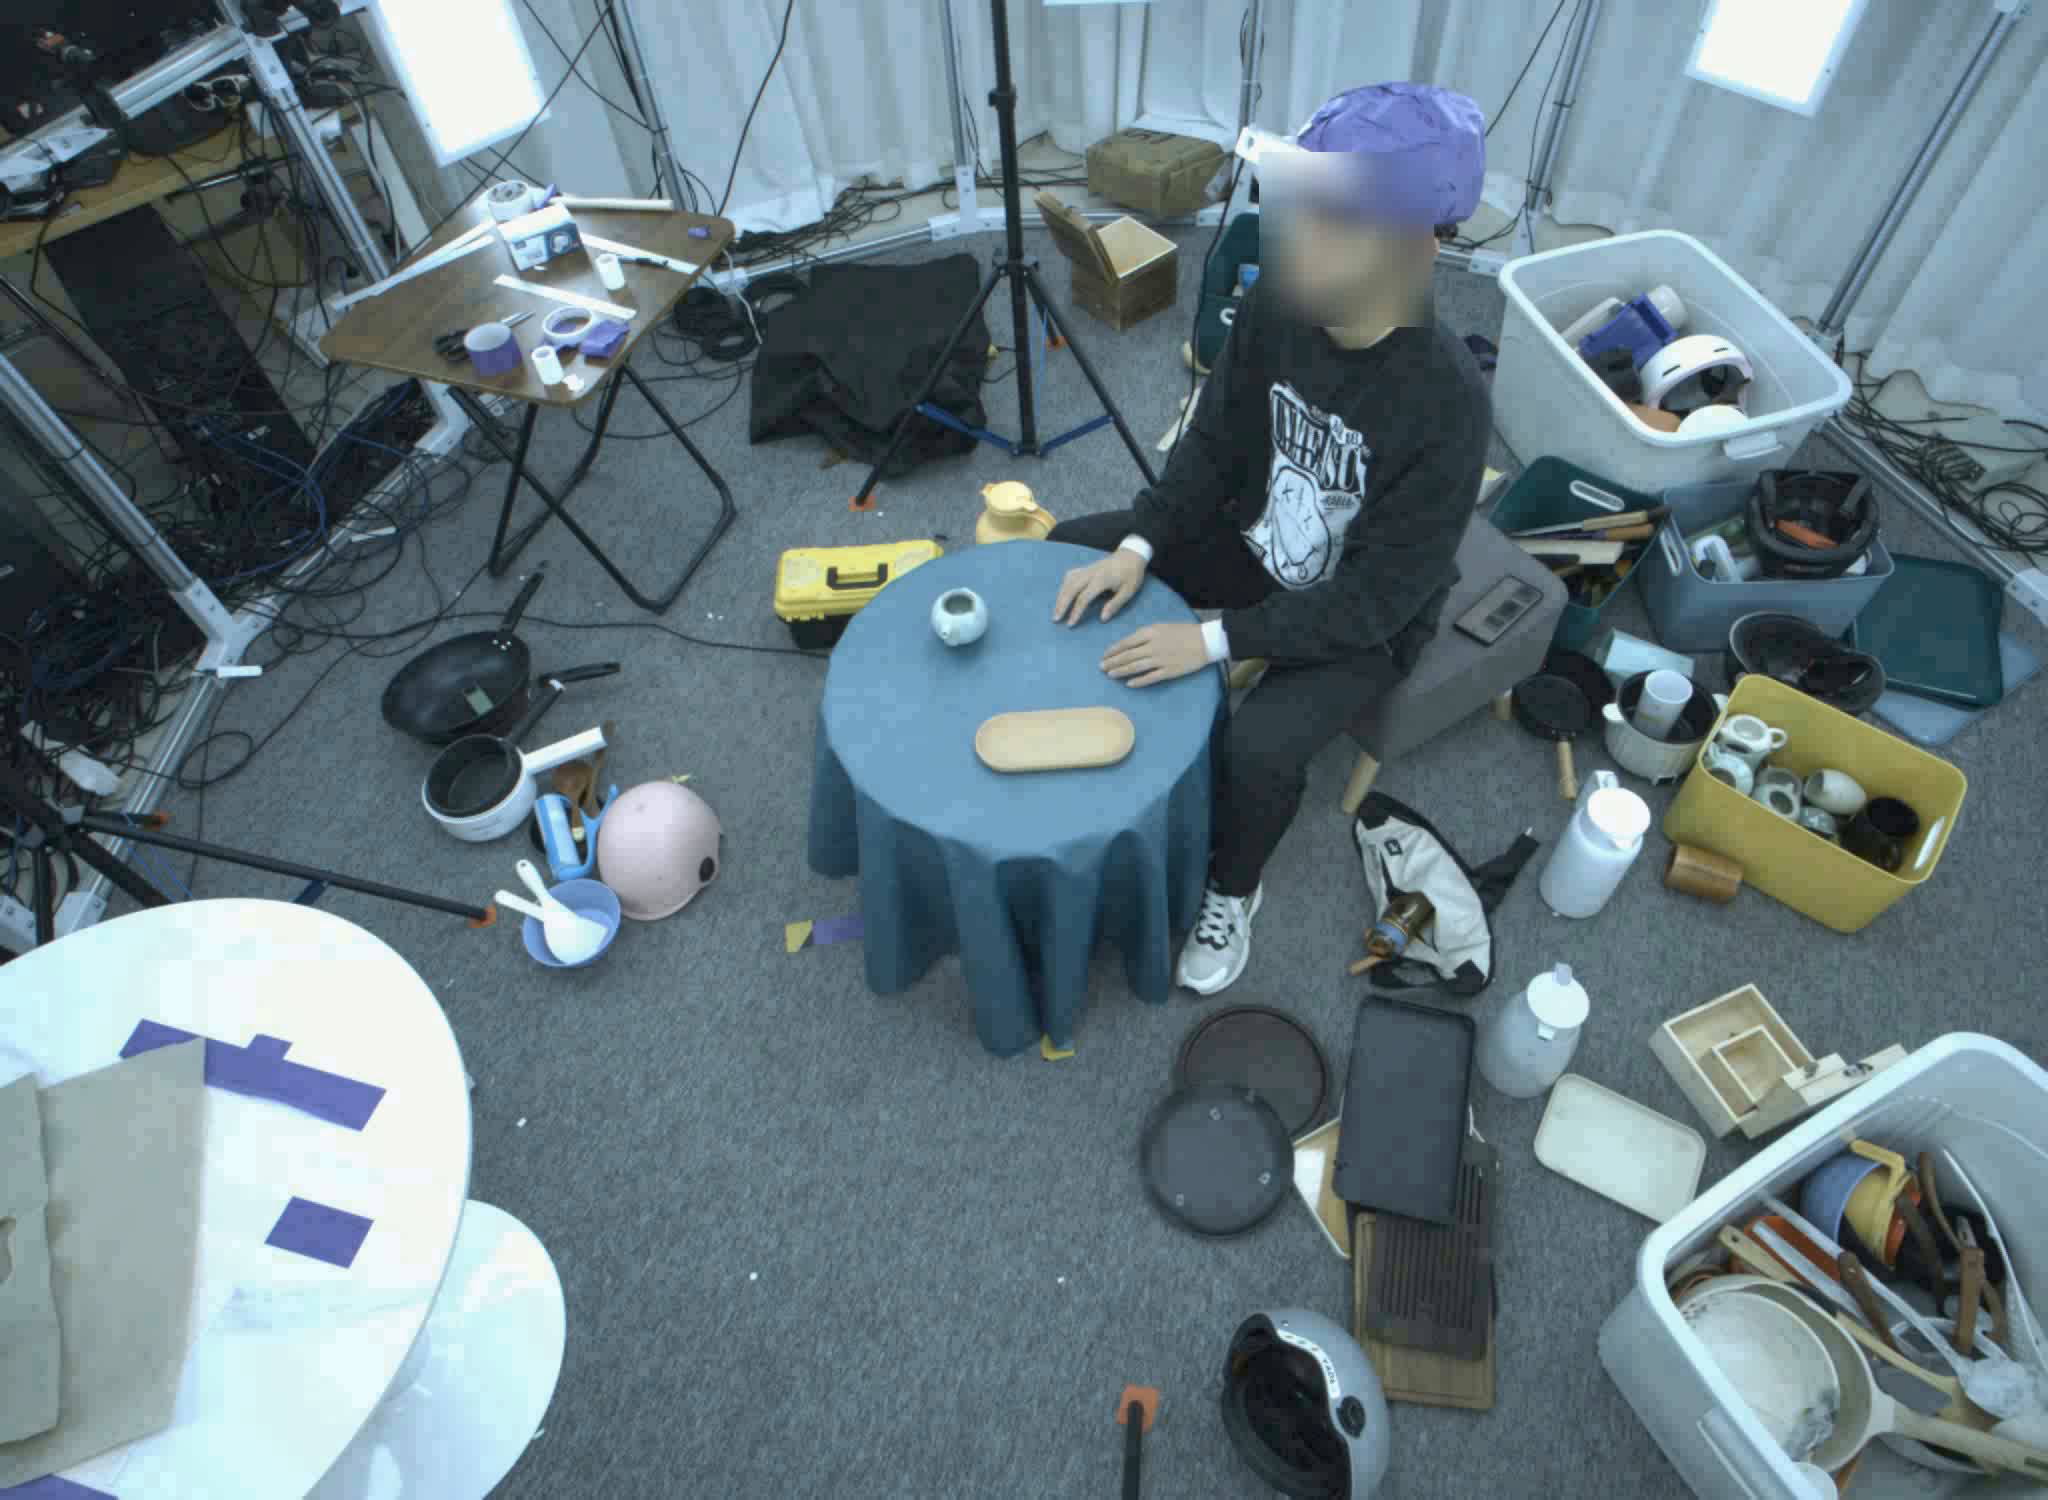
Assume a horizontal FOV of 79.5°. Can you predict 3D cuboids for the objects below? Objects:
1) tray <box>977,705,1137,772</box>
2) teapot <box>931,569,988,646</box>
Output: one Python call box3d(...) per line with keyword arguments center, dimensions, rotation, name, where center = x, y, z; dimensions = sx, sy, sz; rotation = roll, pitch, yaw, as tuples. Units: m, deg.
box3d(center=(0.047, -0.016, 1.784), dimensions=(0.232, 0.020, 0.100), rotation=(-3, 56, -3), name="tray")
box3d(center=(-0.100, -0.206, 1.889), dimensions=(0.087, 0.075, 0.143), rotation=(13, 57, 11), name="teapot")
